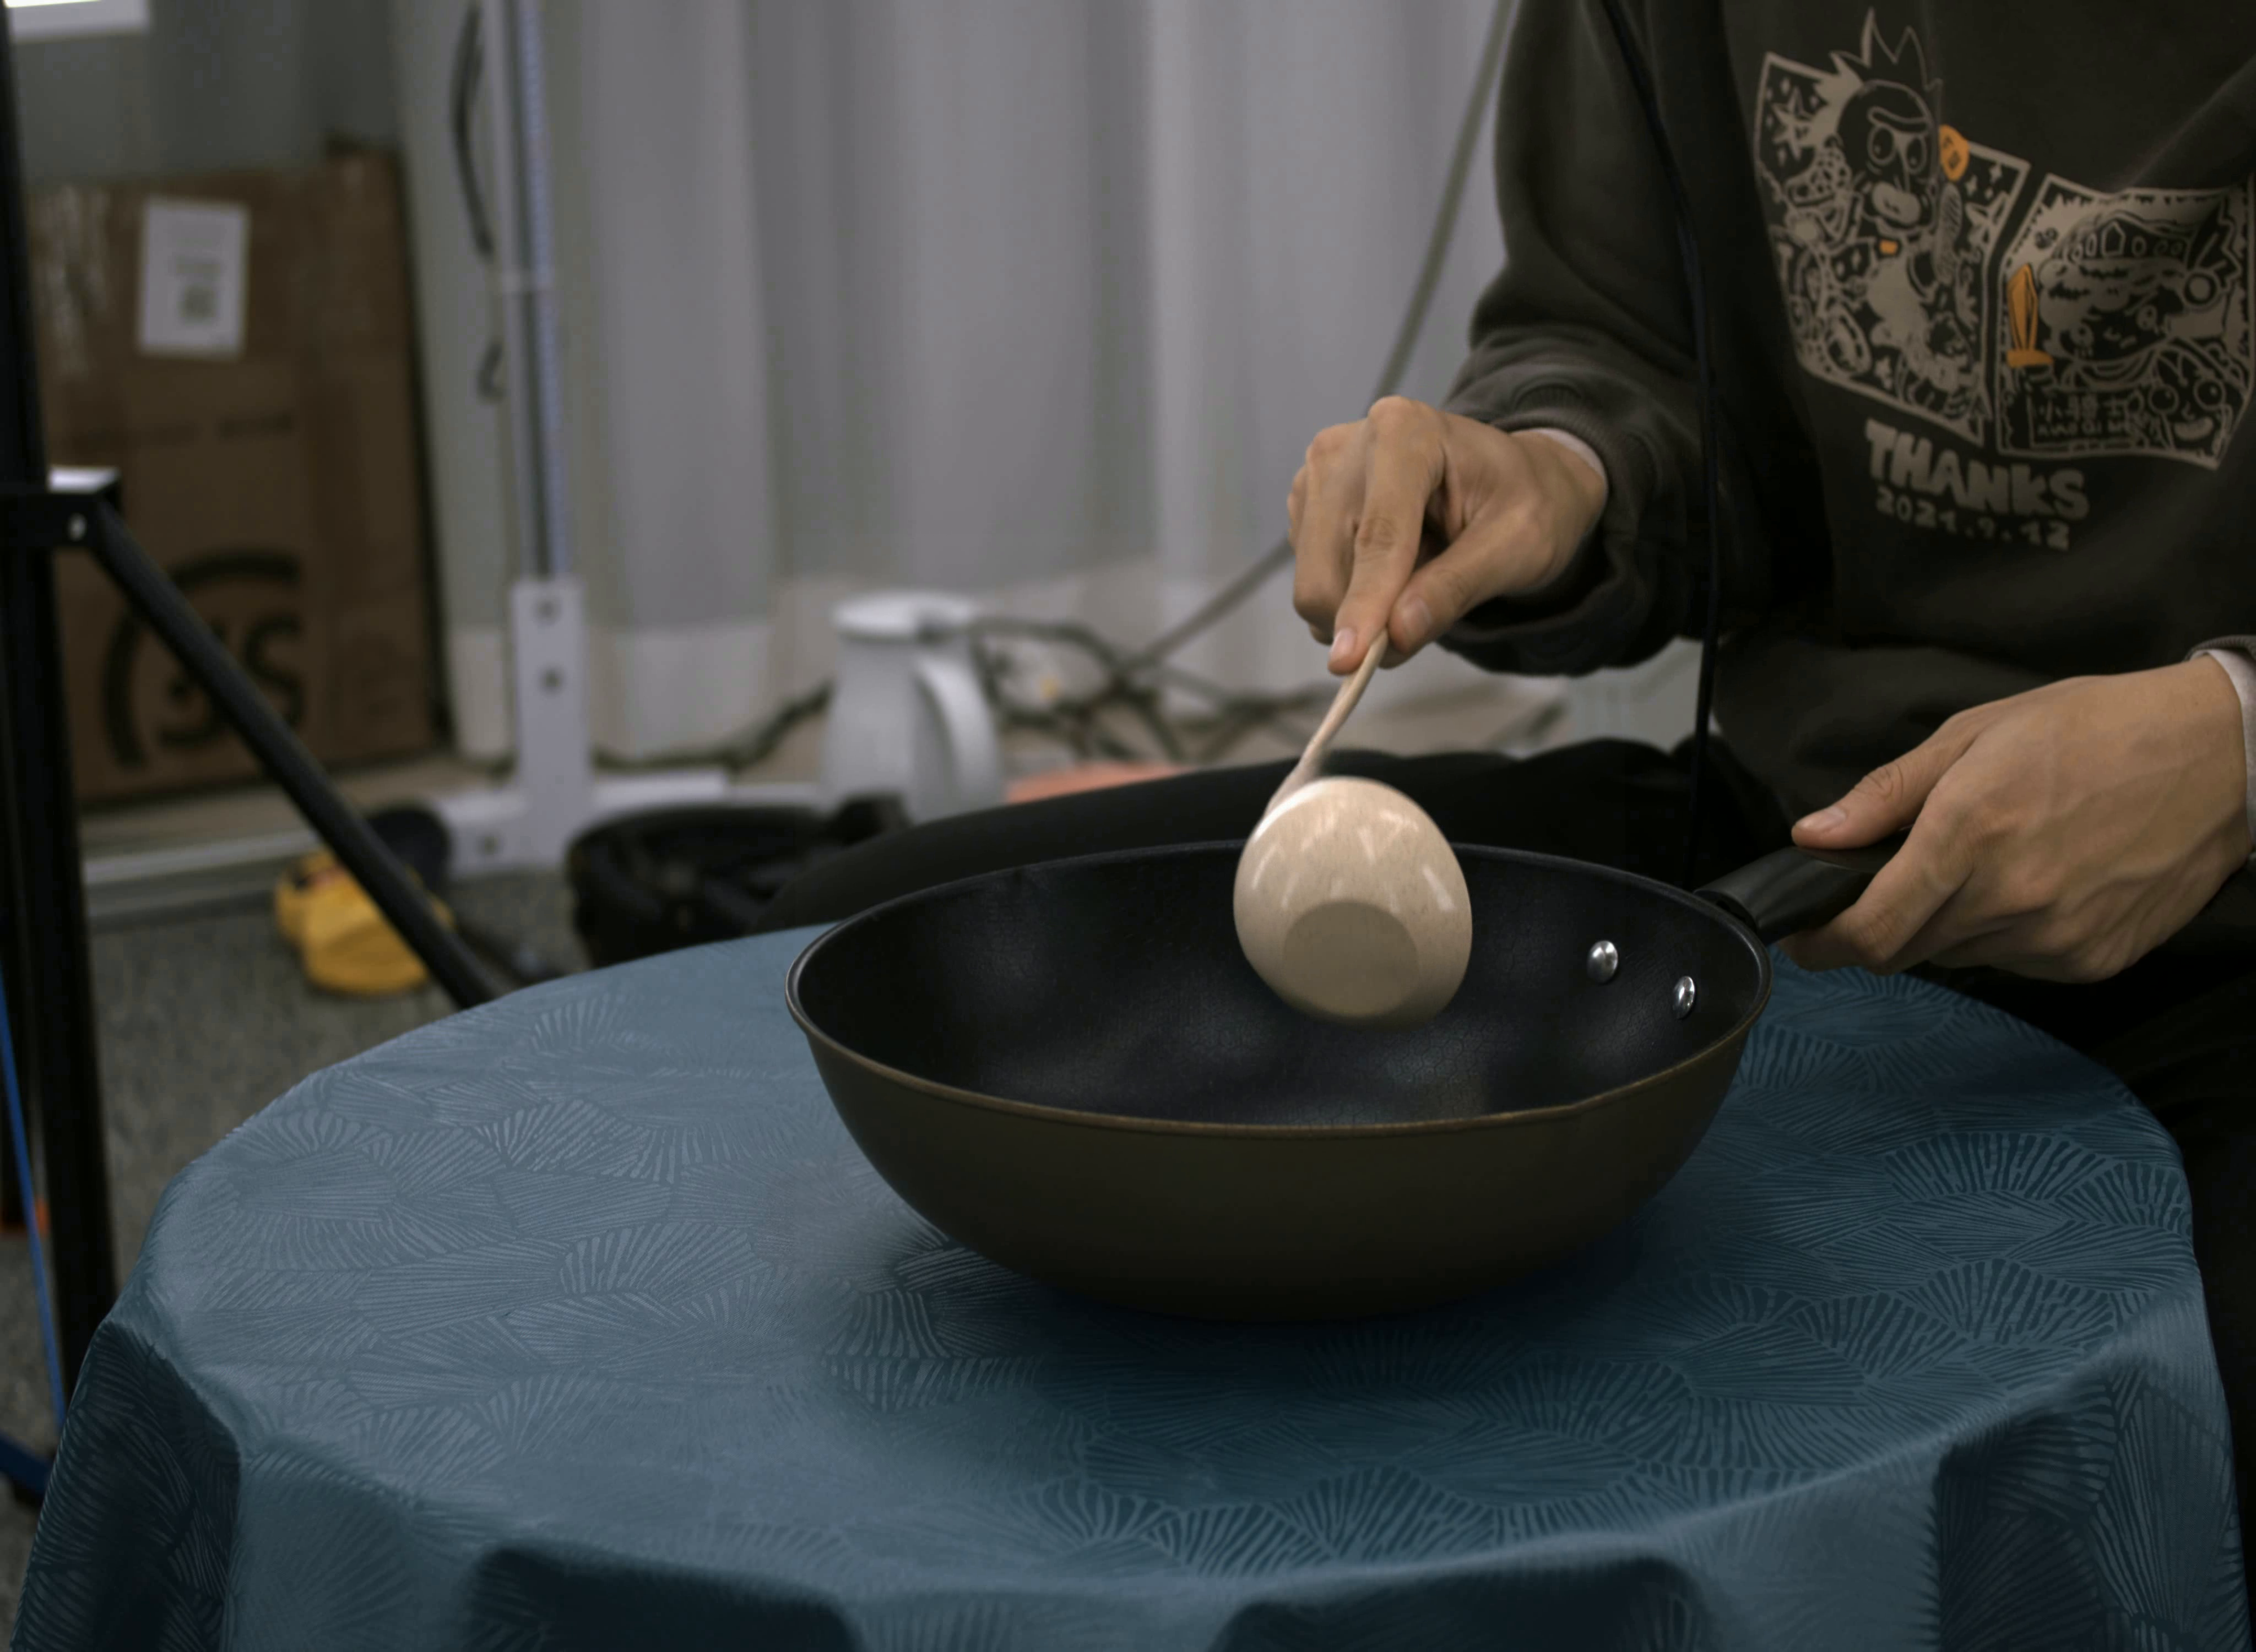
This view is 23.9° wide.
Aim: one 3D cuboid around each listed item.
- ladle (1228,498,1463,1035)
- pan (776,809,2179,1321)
[{"bbox_3d":[0.088,-0.022,1.619,0.072,0.073,0.253,35,32,-4],"label":"ladle"},{"bbox_3d":[0.119,0.063,1.551,0.453,0.087,0.294,-9,17,-28],"label":"pan"}]
